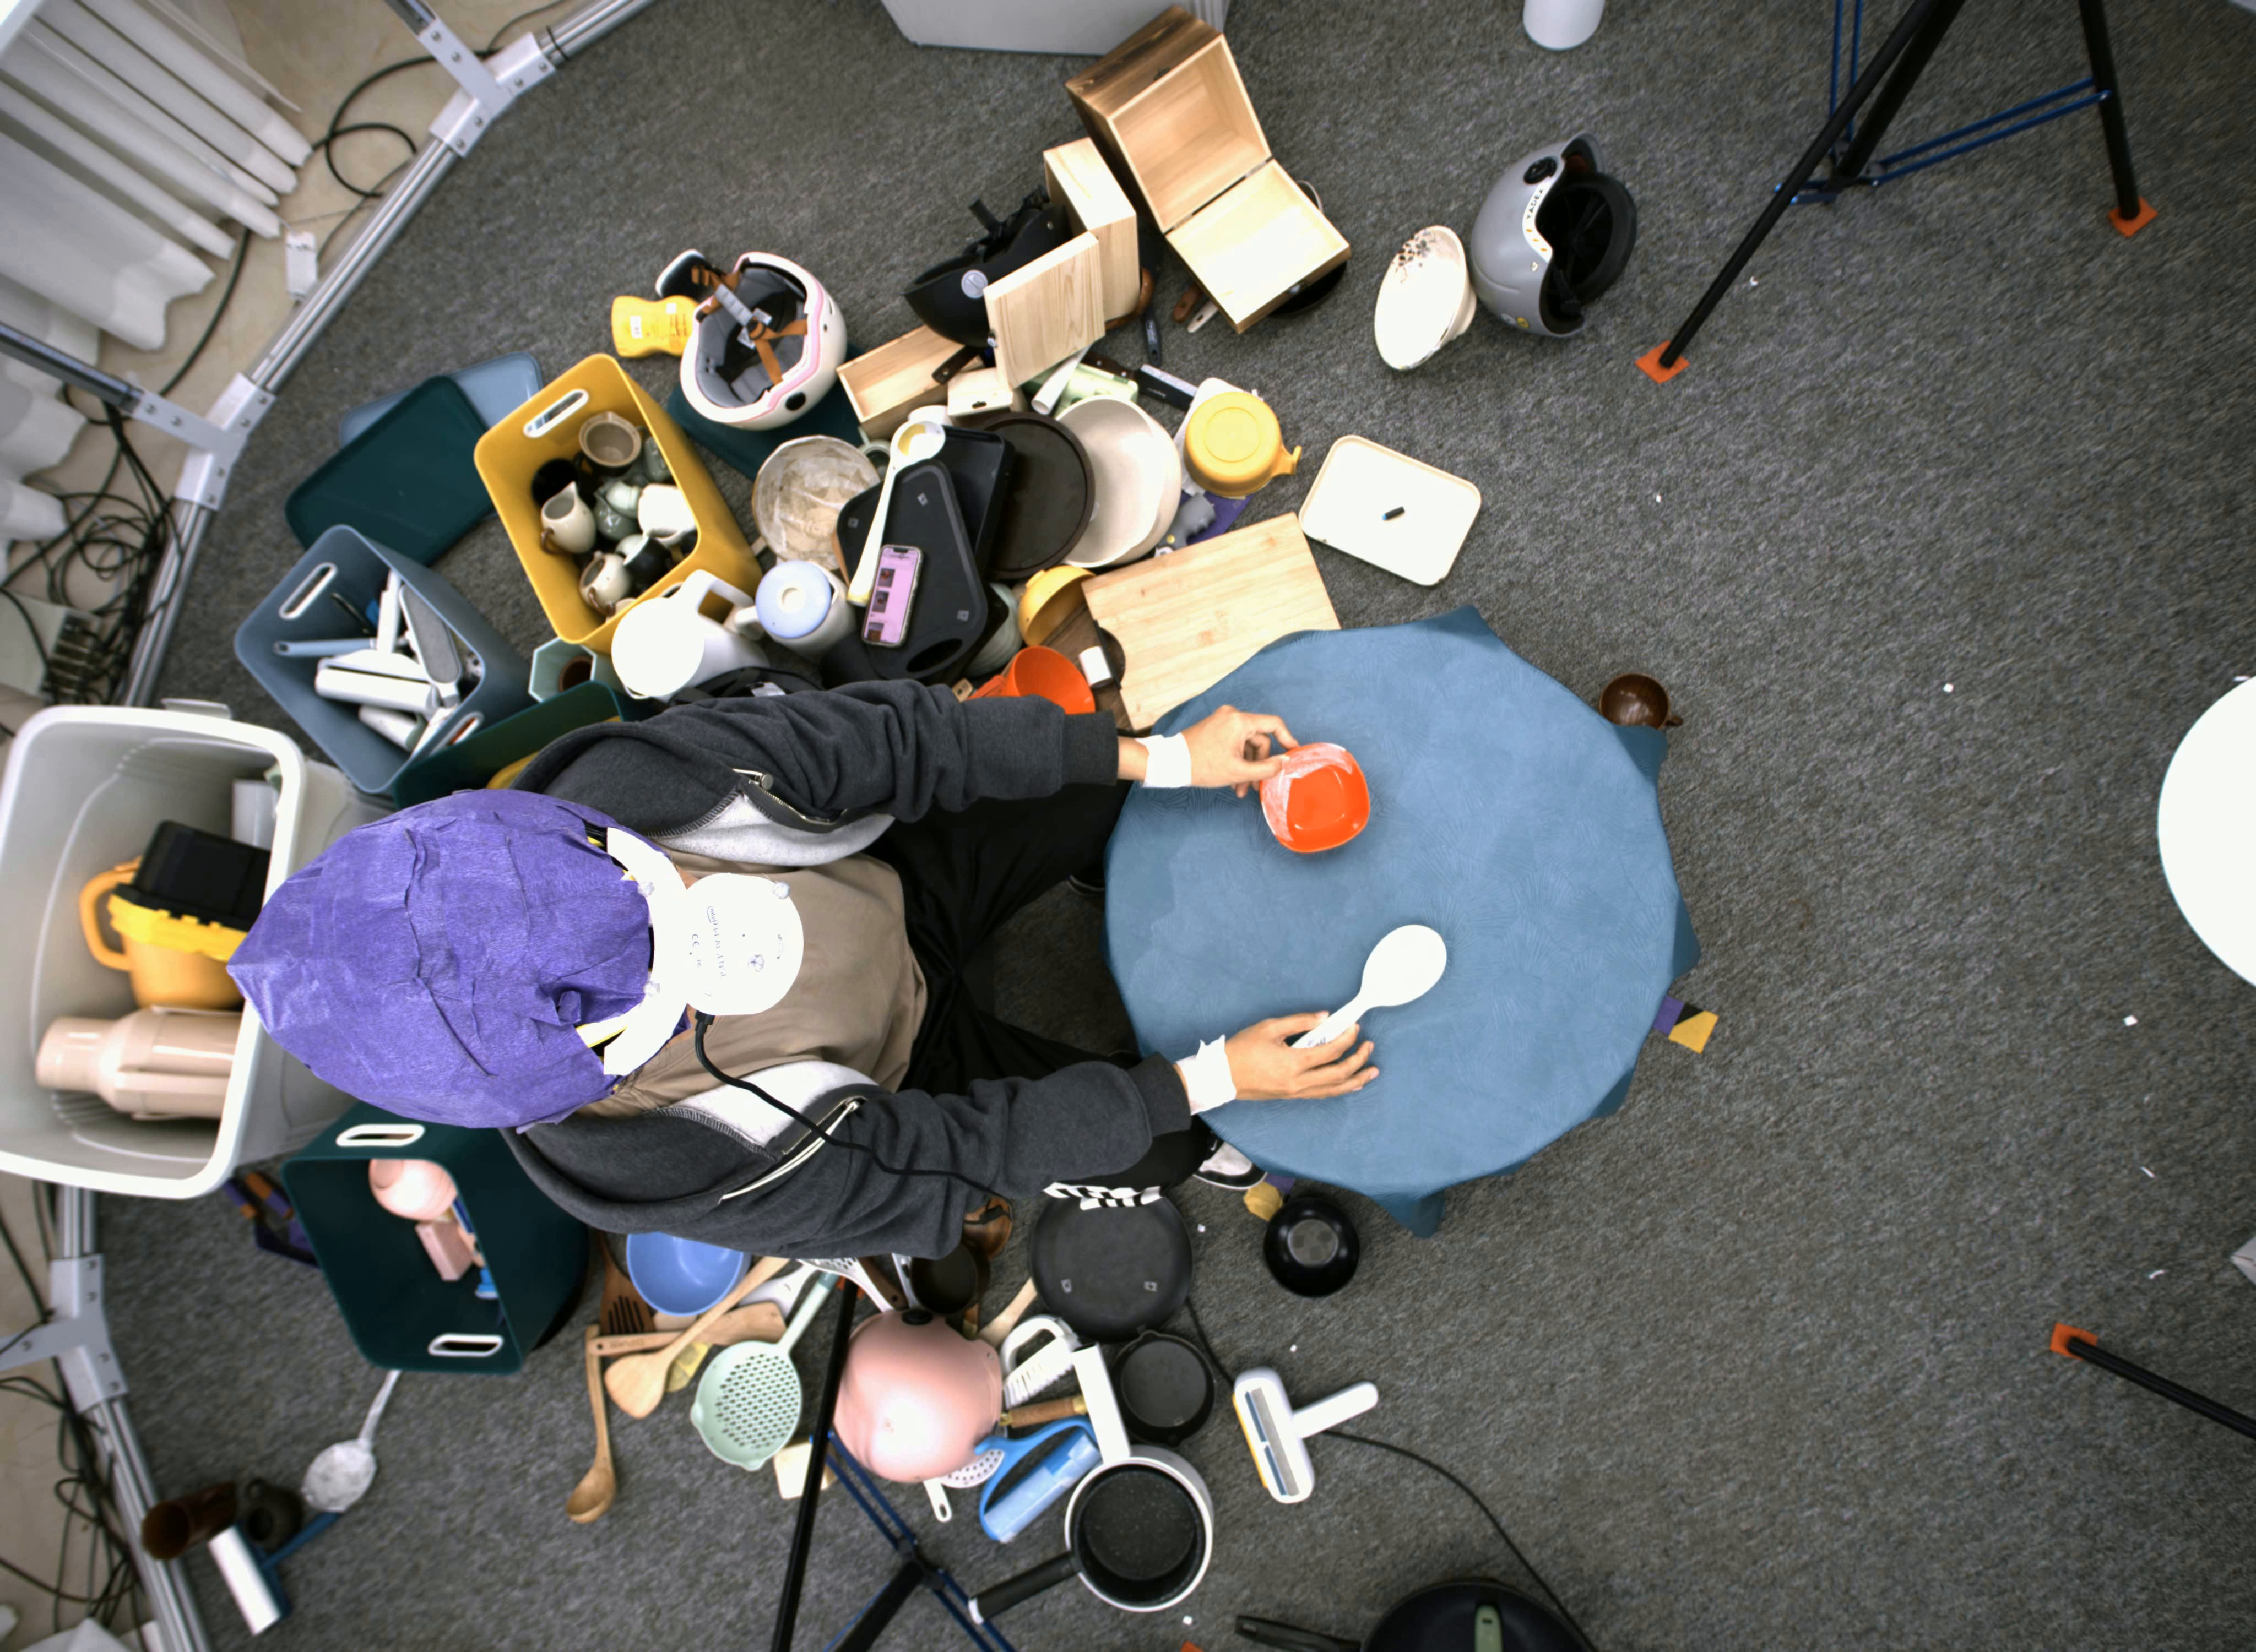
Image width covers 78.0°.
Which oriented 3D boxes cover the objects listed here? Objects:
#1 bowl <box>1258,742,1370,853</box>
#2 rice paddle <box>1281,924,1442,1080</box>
[{"bbox_3d":[0.194,-0.030,1.448,0.119,0.051,0.119,0,93,7],"label":"bowl"},{"bbox_3d":[0.241,0.180,1.428,0.206,0.029,0.068,-44,78,5],"label":"rice paddle"}]
